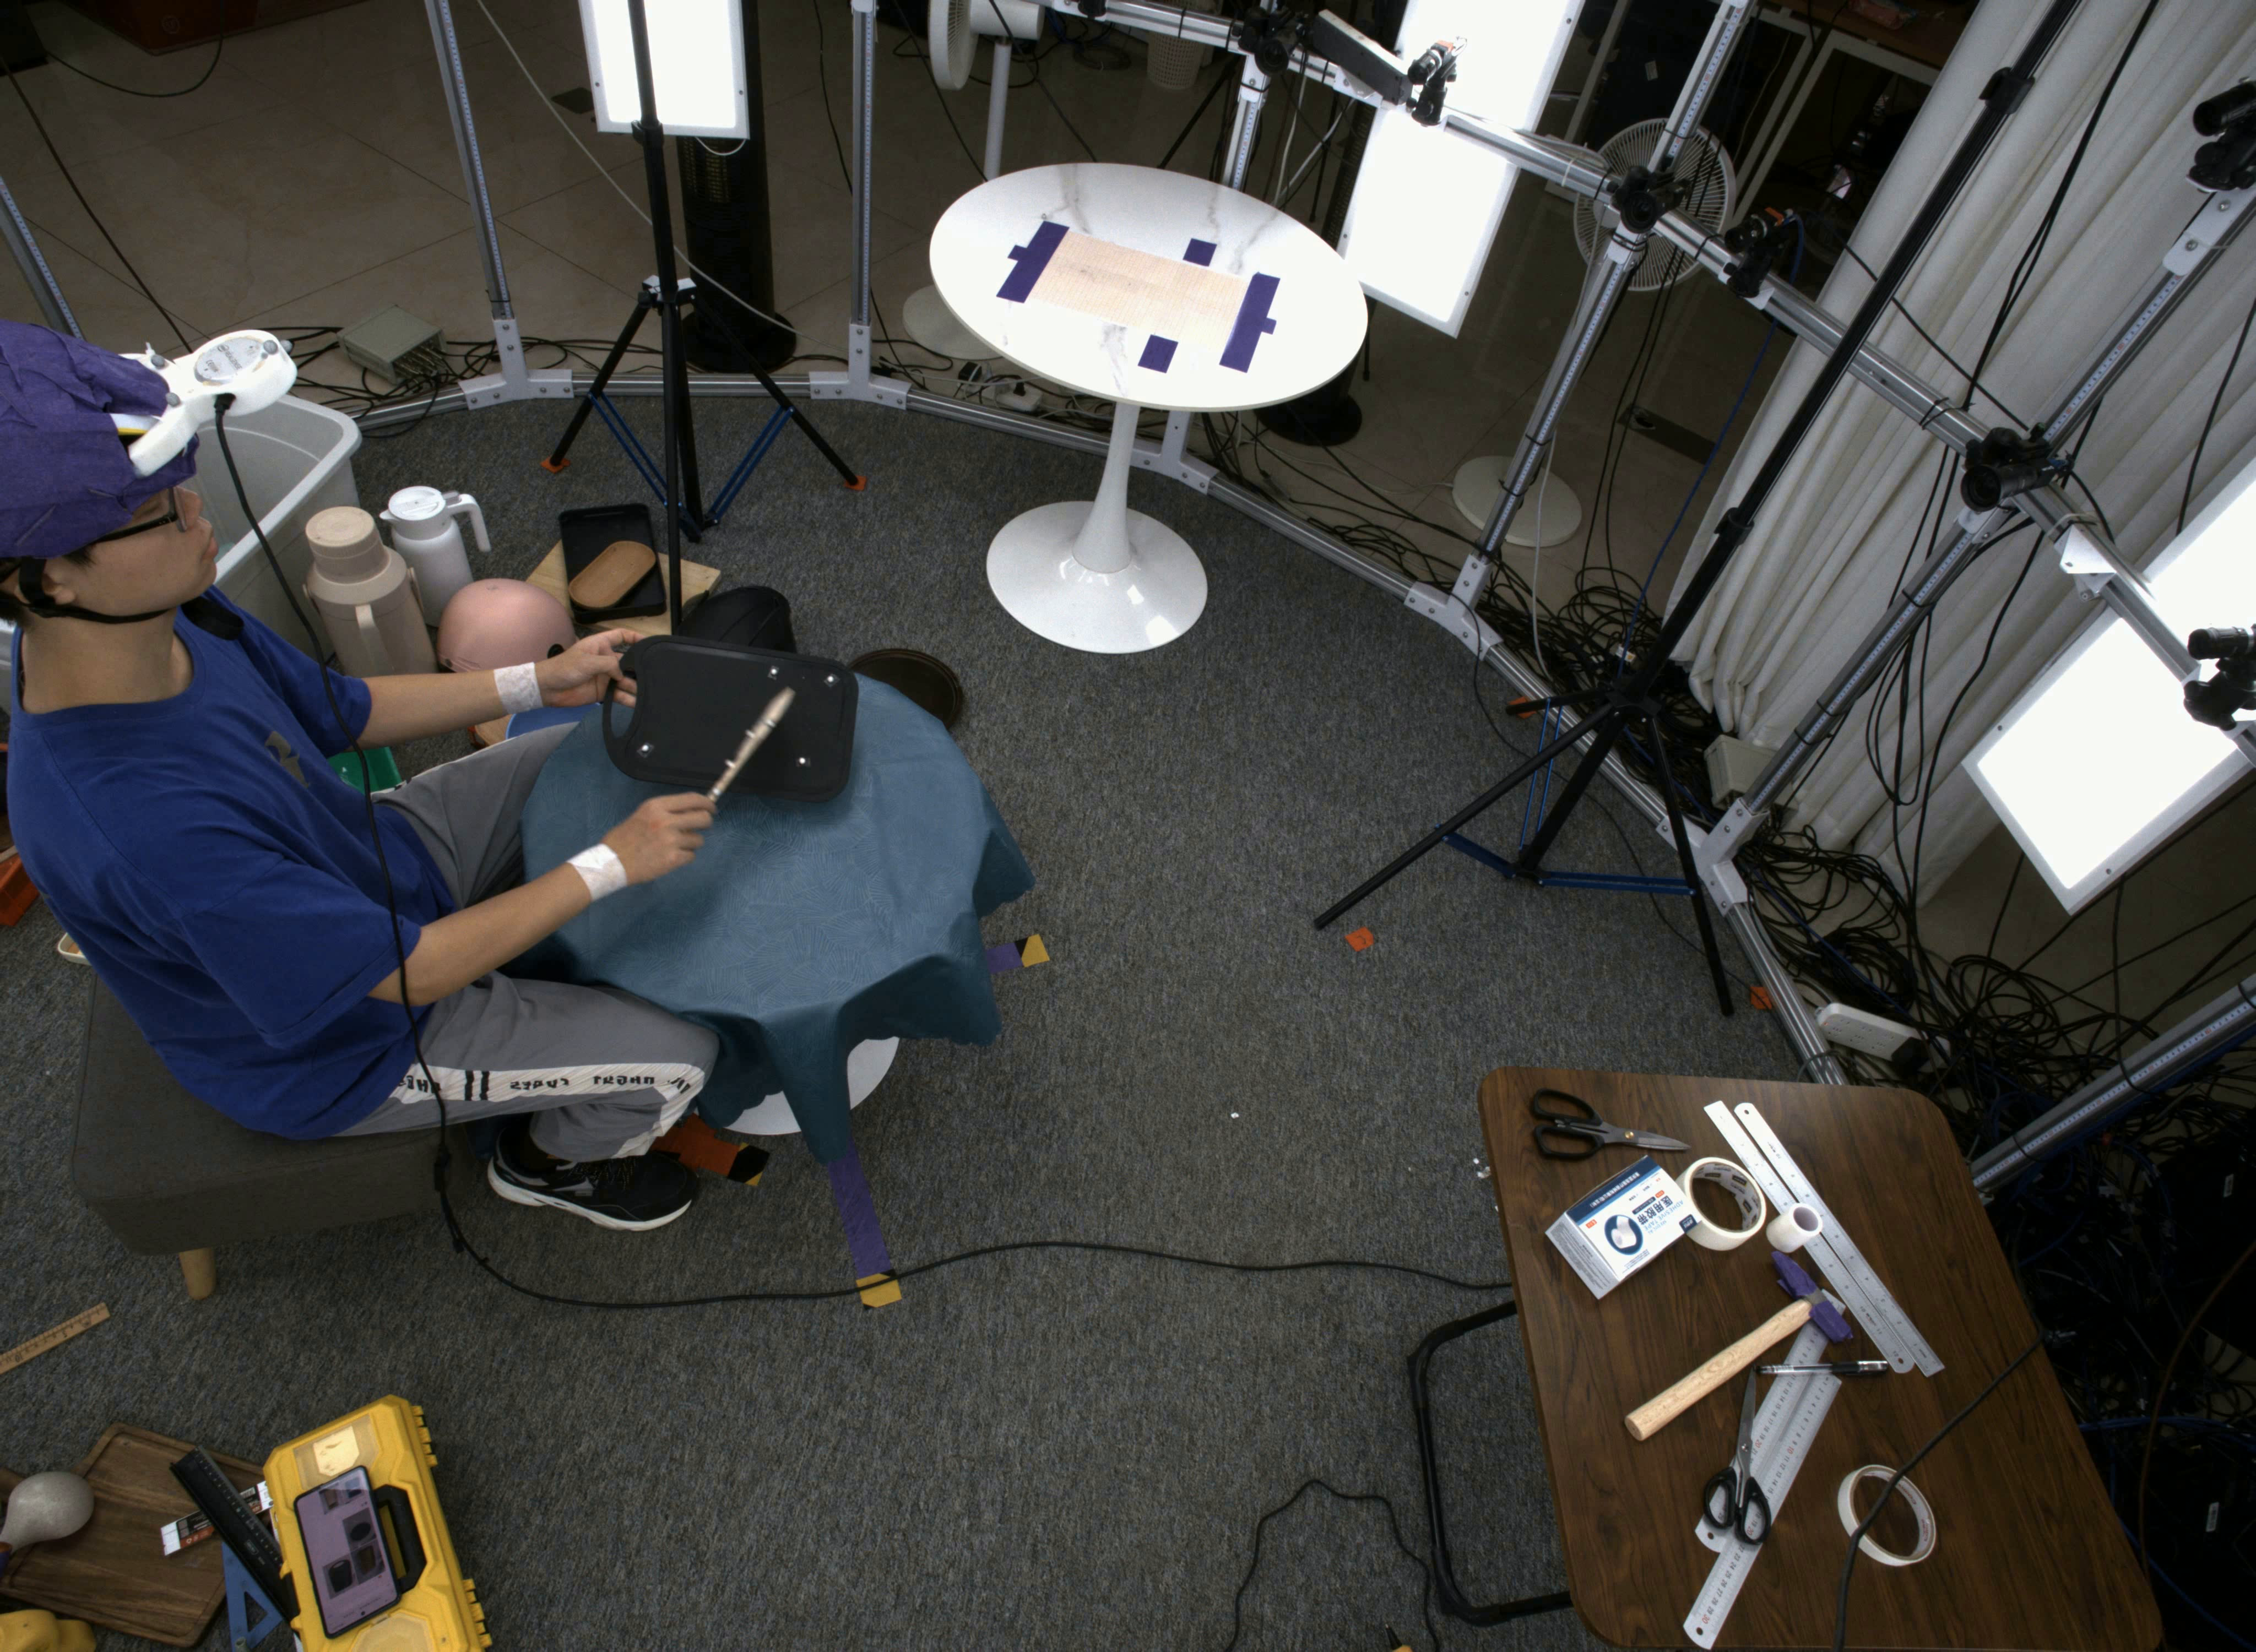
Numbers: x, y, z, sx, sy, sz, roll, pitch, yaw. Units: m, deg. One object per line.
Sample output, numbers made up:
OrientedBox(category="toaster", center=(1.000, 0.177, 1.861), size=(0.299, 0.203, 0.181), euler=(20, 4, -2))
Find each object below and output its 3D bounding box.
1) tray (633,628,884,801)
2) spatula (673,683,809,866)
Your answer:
OrientedBox(category="tray", center=(-0.495, -0.151, 1.722), size=(0.327, 0.010, 0.210), euler=(9, 72, -16))
OrientedBox(category="spatula", center=(-0.487, -0.066, 1.628), size=(0.011, 0.071, 0.291), euler=(40, 58, -20))
